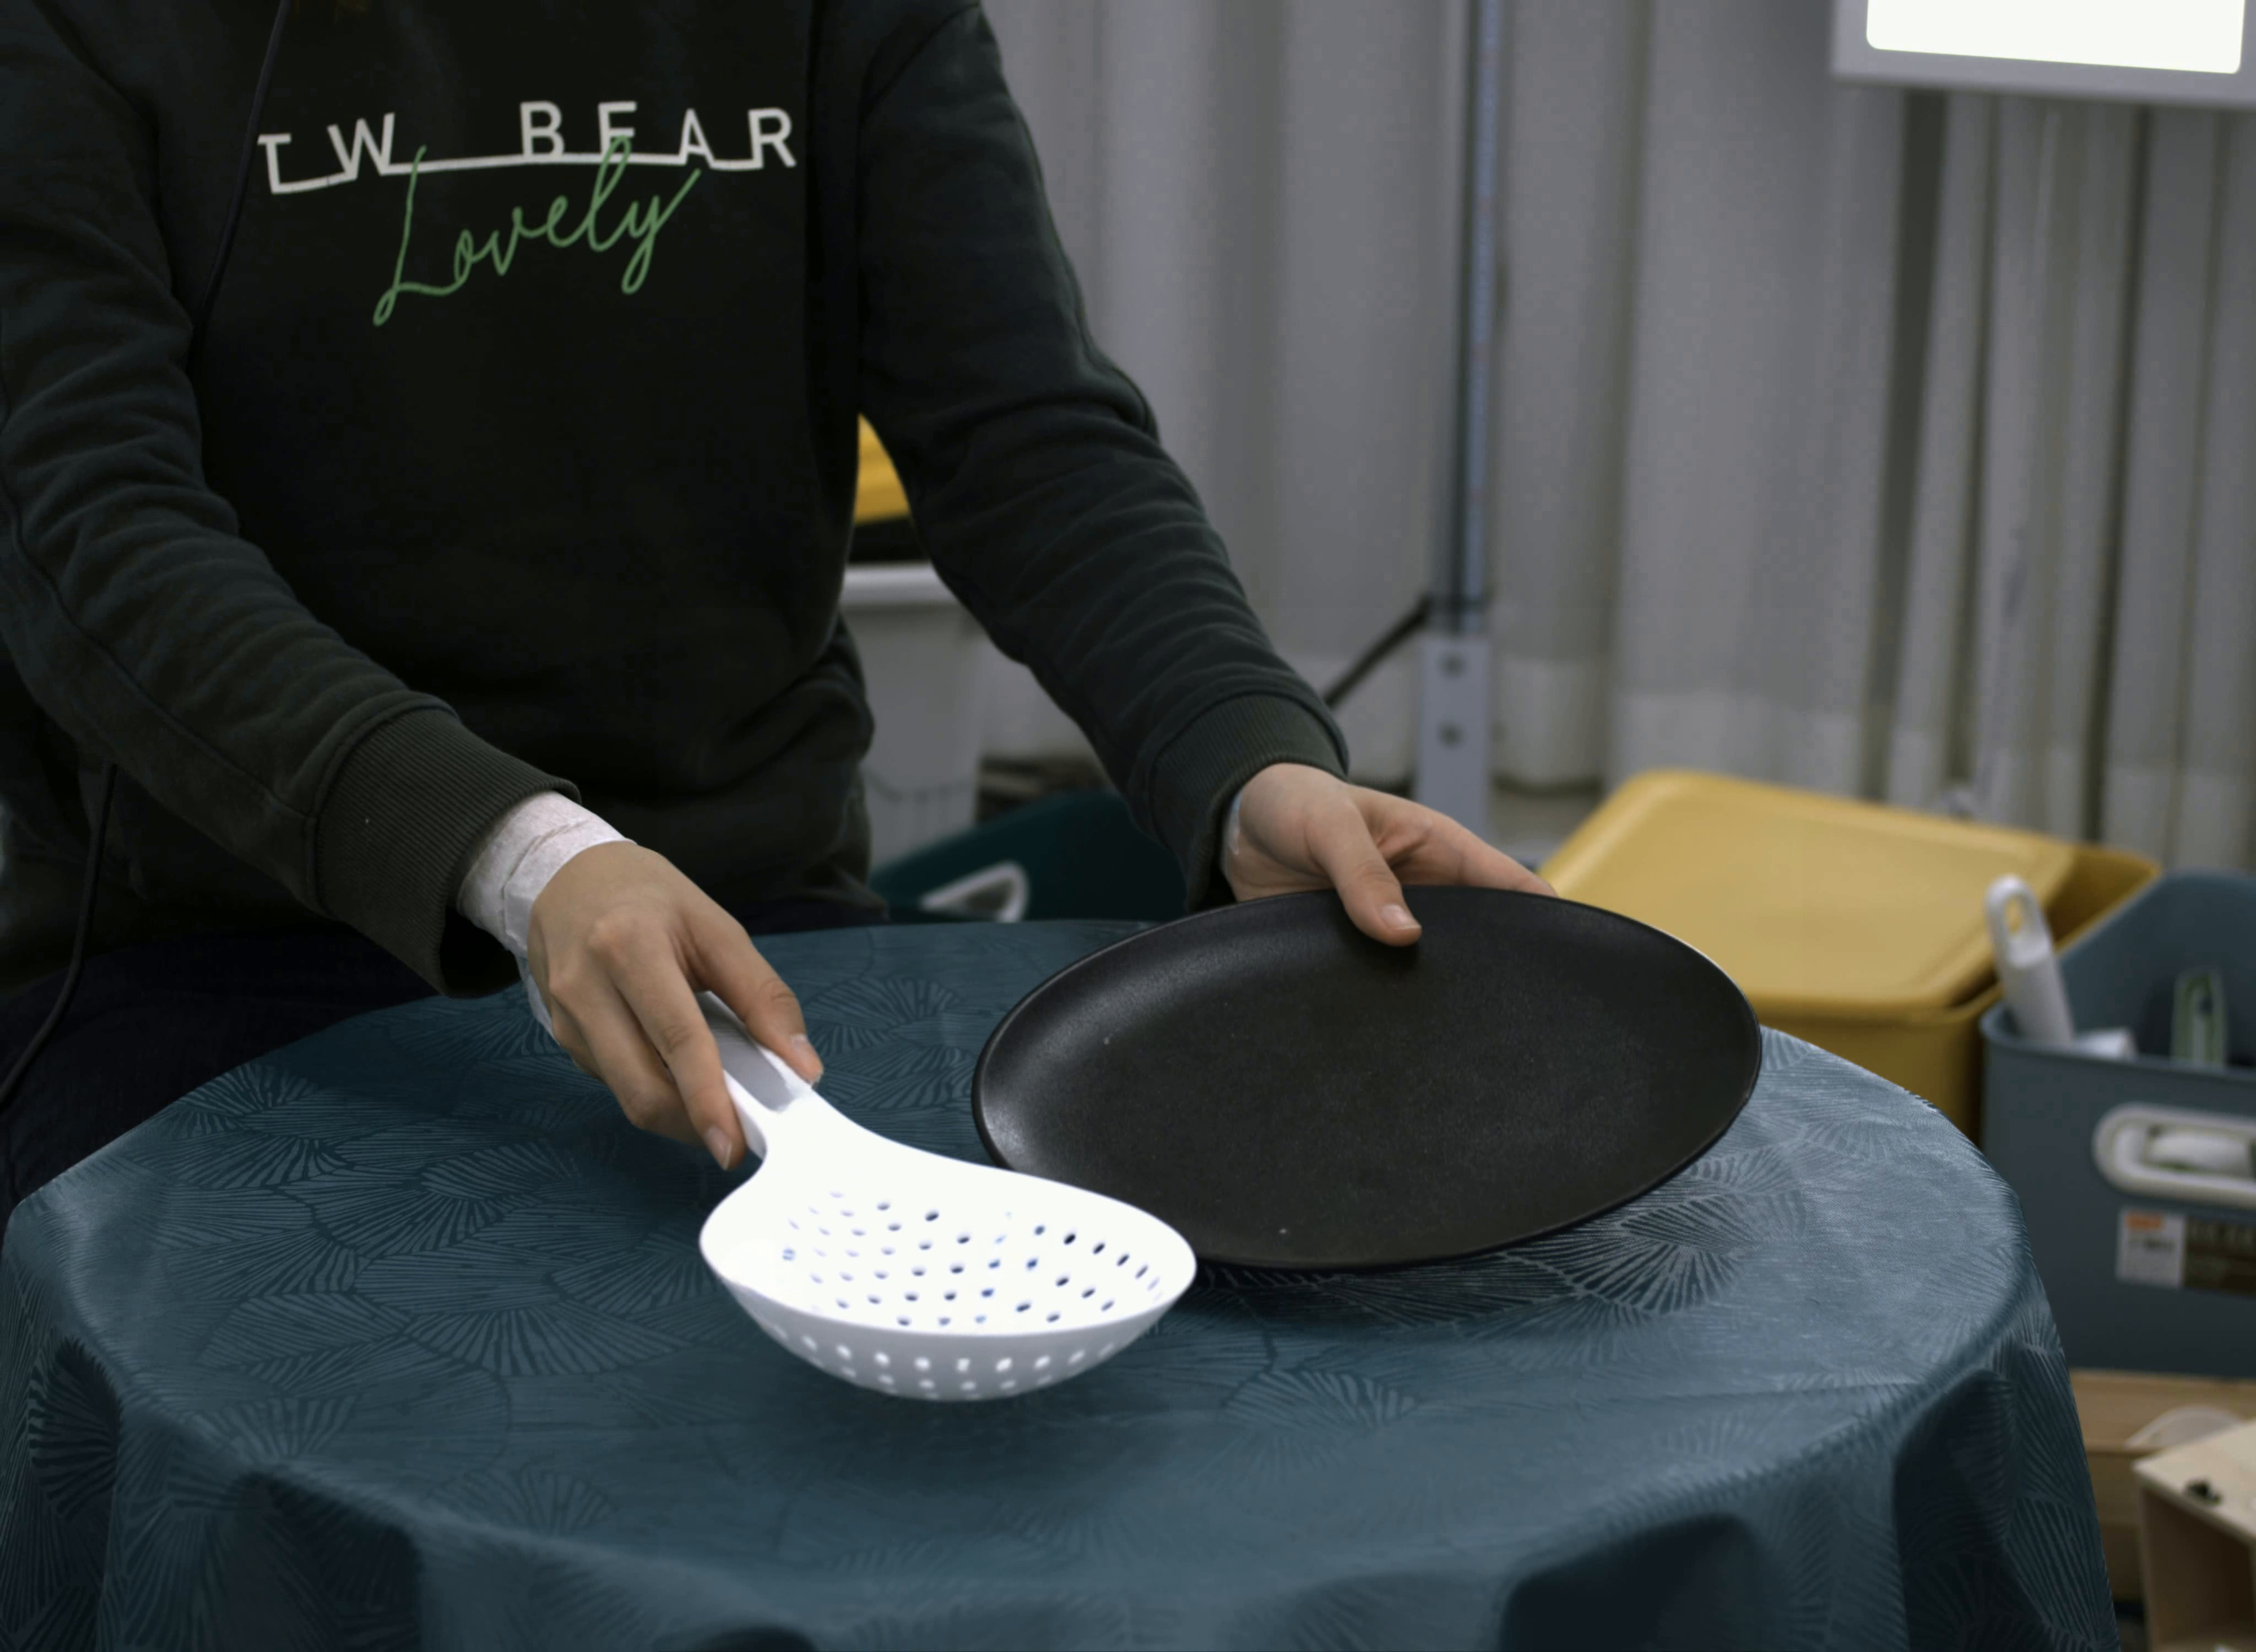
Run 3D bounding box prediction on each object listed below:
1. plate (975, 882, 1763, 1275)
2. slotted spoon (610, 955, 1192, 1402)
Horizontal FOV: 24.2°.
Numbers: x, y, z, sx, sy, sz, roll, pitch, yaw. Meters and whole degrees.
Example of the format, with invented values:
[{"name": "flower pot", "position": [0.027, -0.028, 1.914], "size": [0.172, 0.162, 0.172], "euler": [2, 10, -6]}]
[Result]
[{"name": "plate", "position": [0.074, 0.081, 1.620], "size": [0.243, 0.024, 0.242], "euler": [-4, 26, 3]}, {"name": "slotted spoon", "position": [-0.091, 0.094, 1.538], "size": [0.136, 0.046, 0.345], "euler": [-1, 21, -23]}]
